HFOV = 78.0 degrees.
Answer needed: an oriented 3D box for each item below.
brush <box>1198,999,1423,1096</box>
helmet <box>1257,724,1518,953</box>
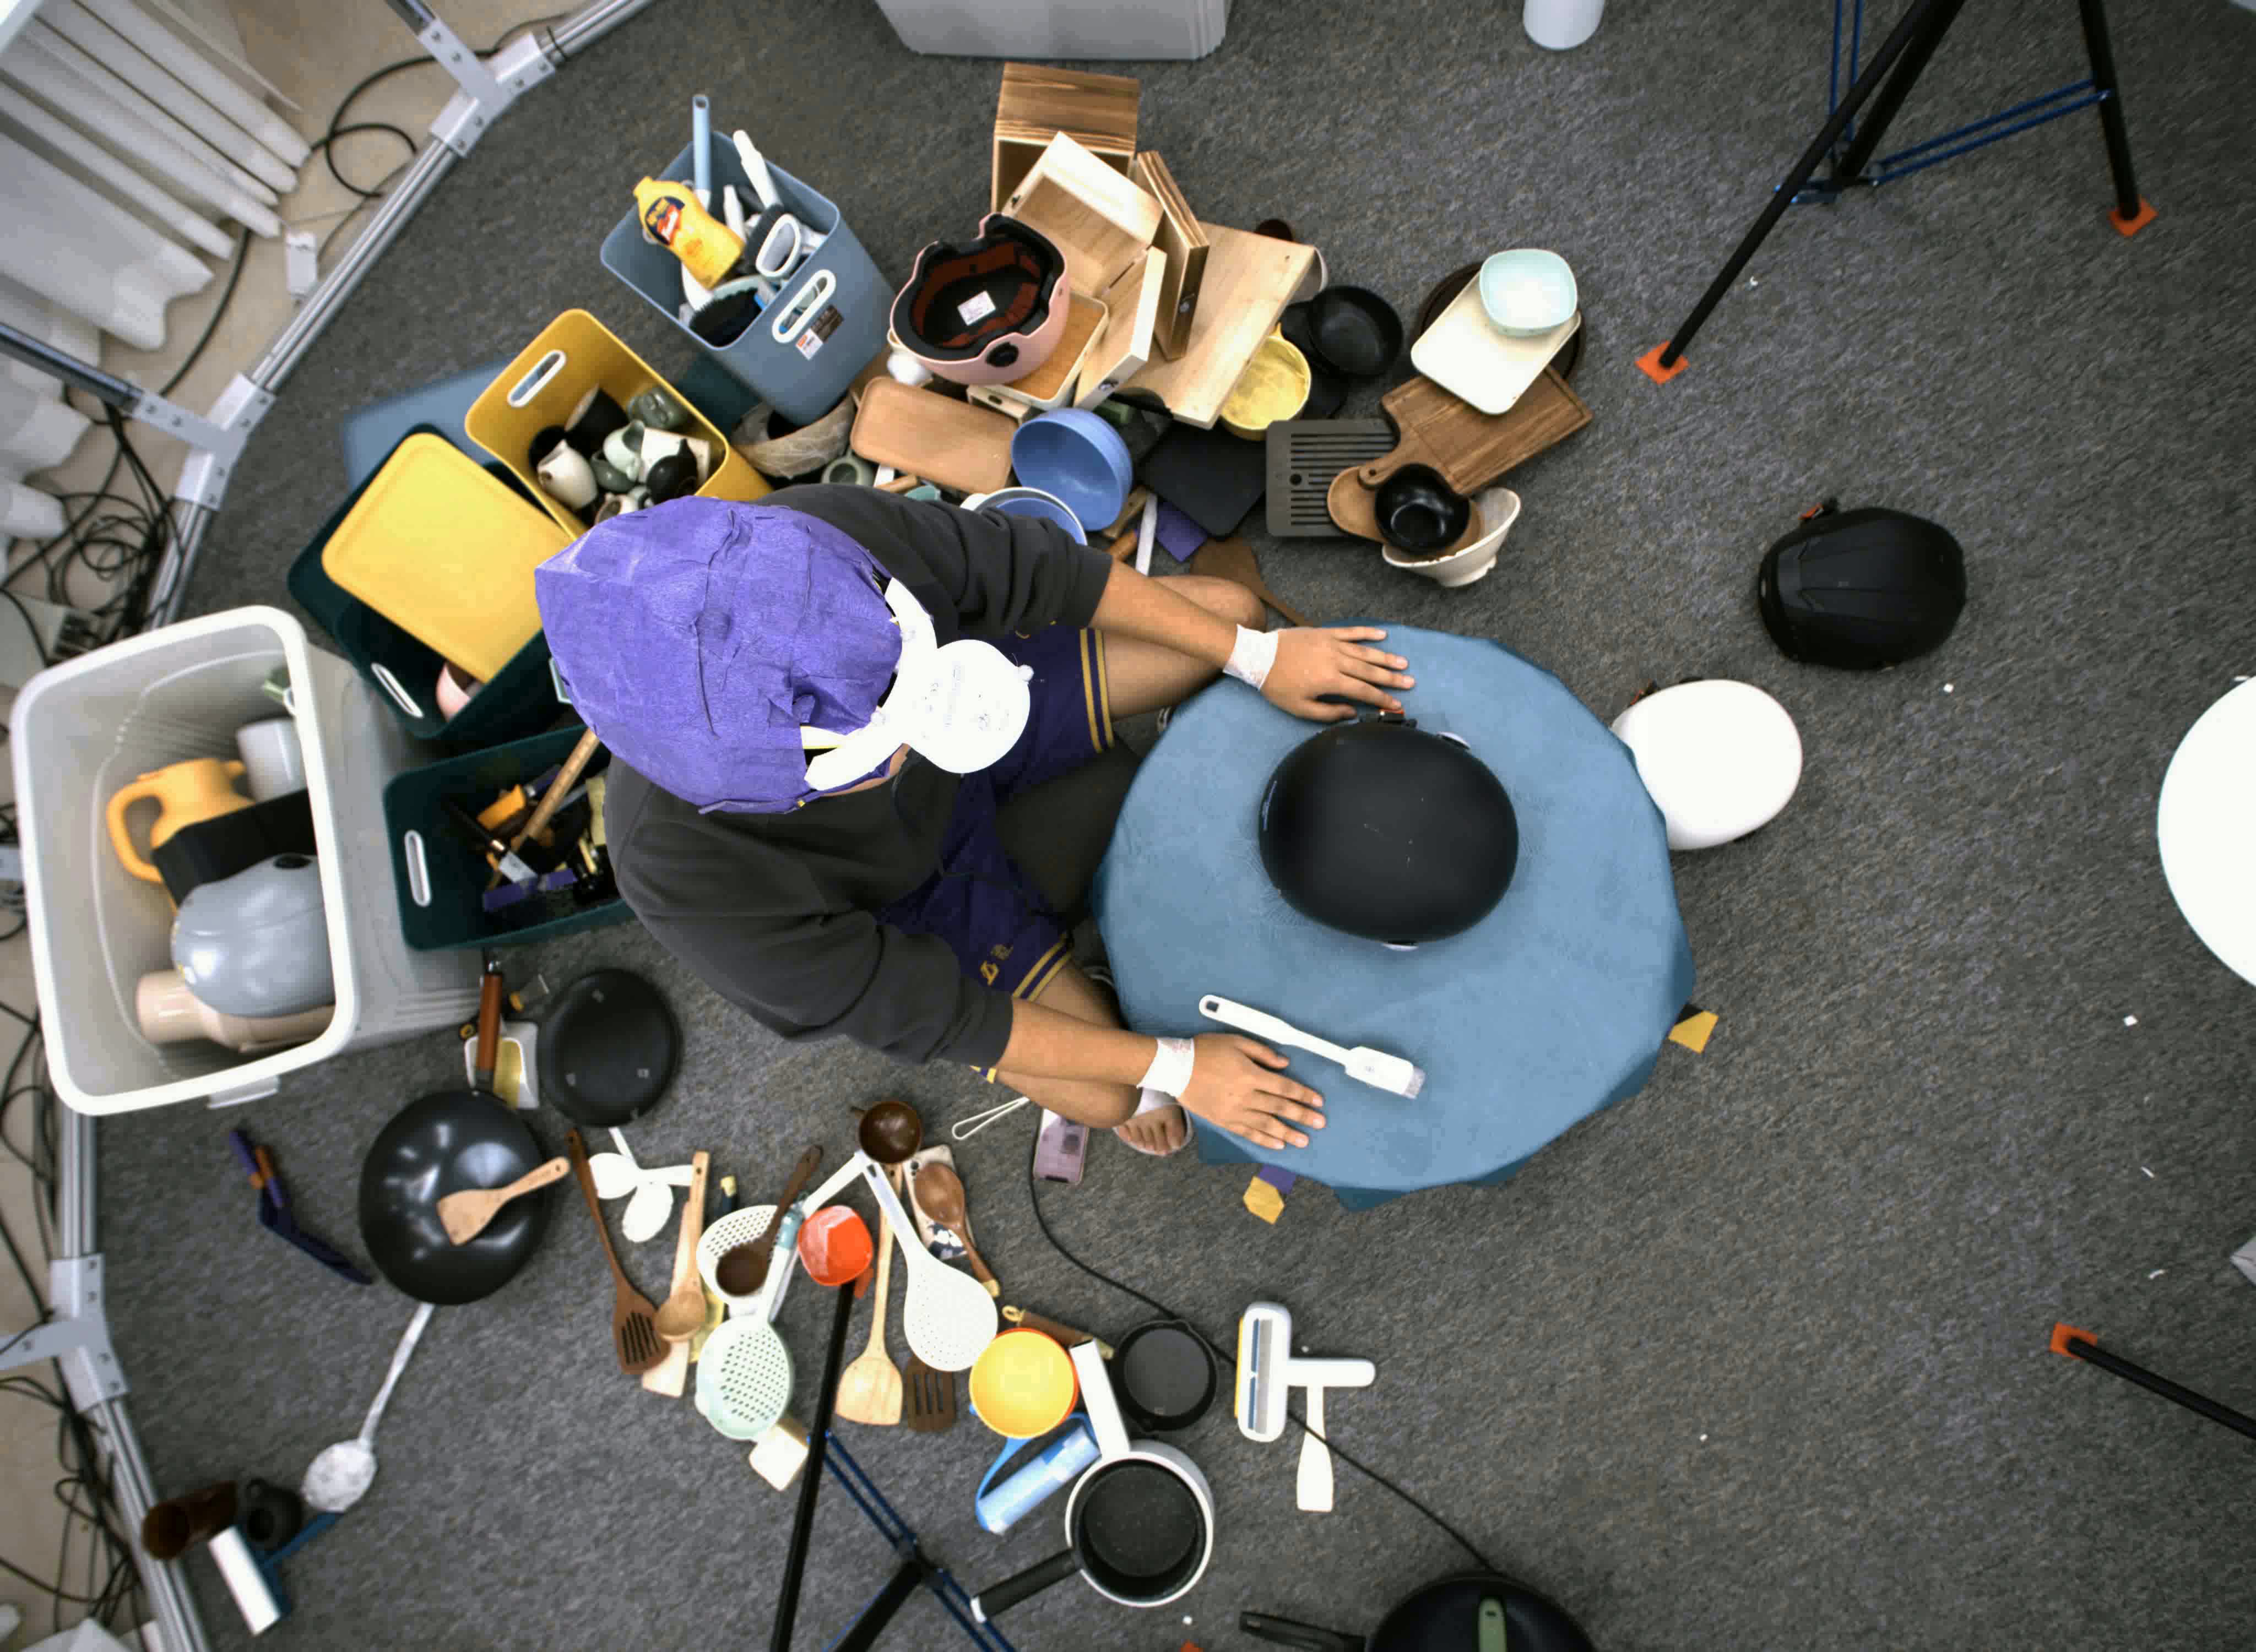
[{"bbox_3d":[0.189,0.229,1.453,0.244,0.050,0.034,16,79,24],"label":"brush"},{"bbox_3d":[0.263,0.006,1.385,0.273,0.166,0.230,17,92,9],"label":"helmet"}]
